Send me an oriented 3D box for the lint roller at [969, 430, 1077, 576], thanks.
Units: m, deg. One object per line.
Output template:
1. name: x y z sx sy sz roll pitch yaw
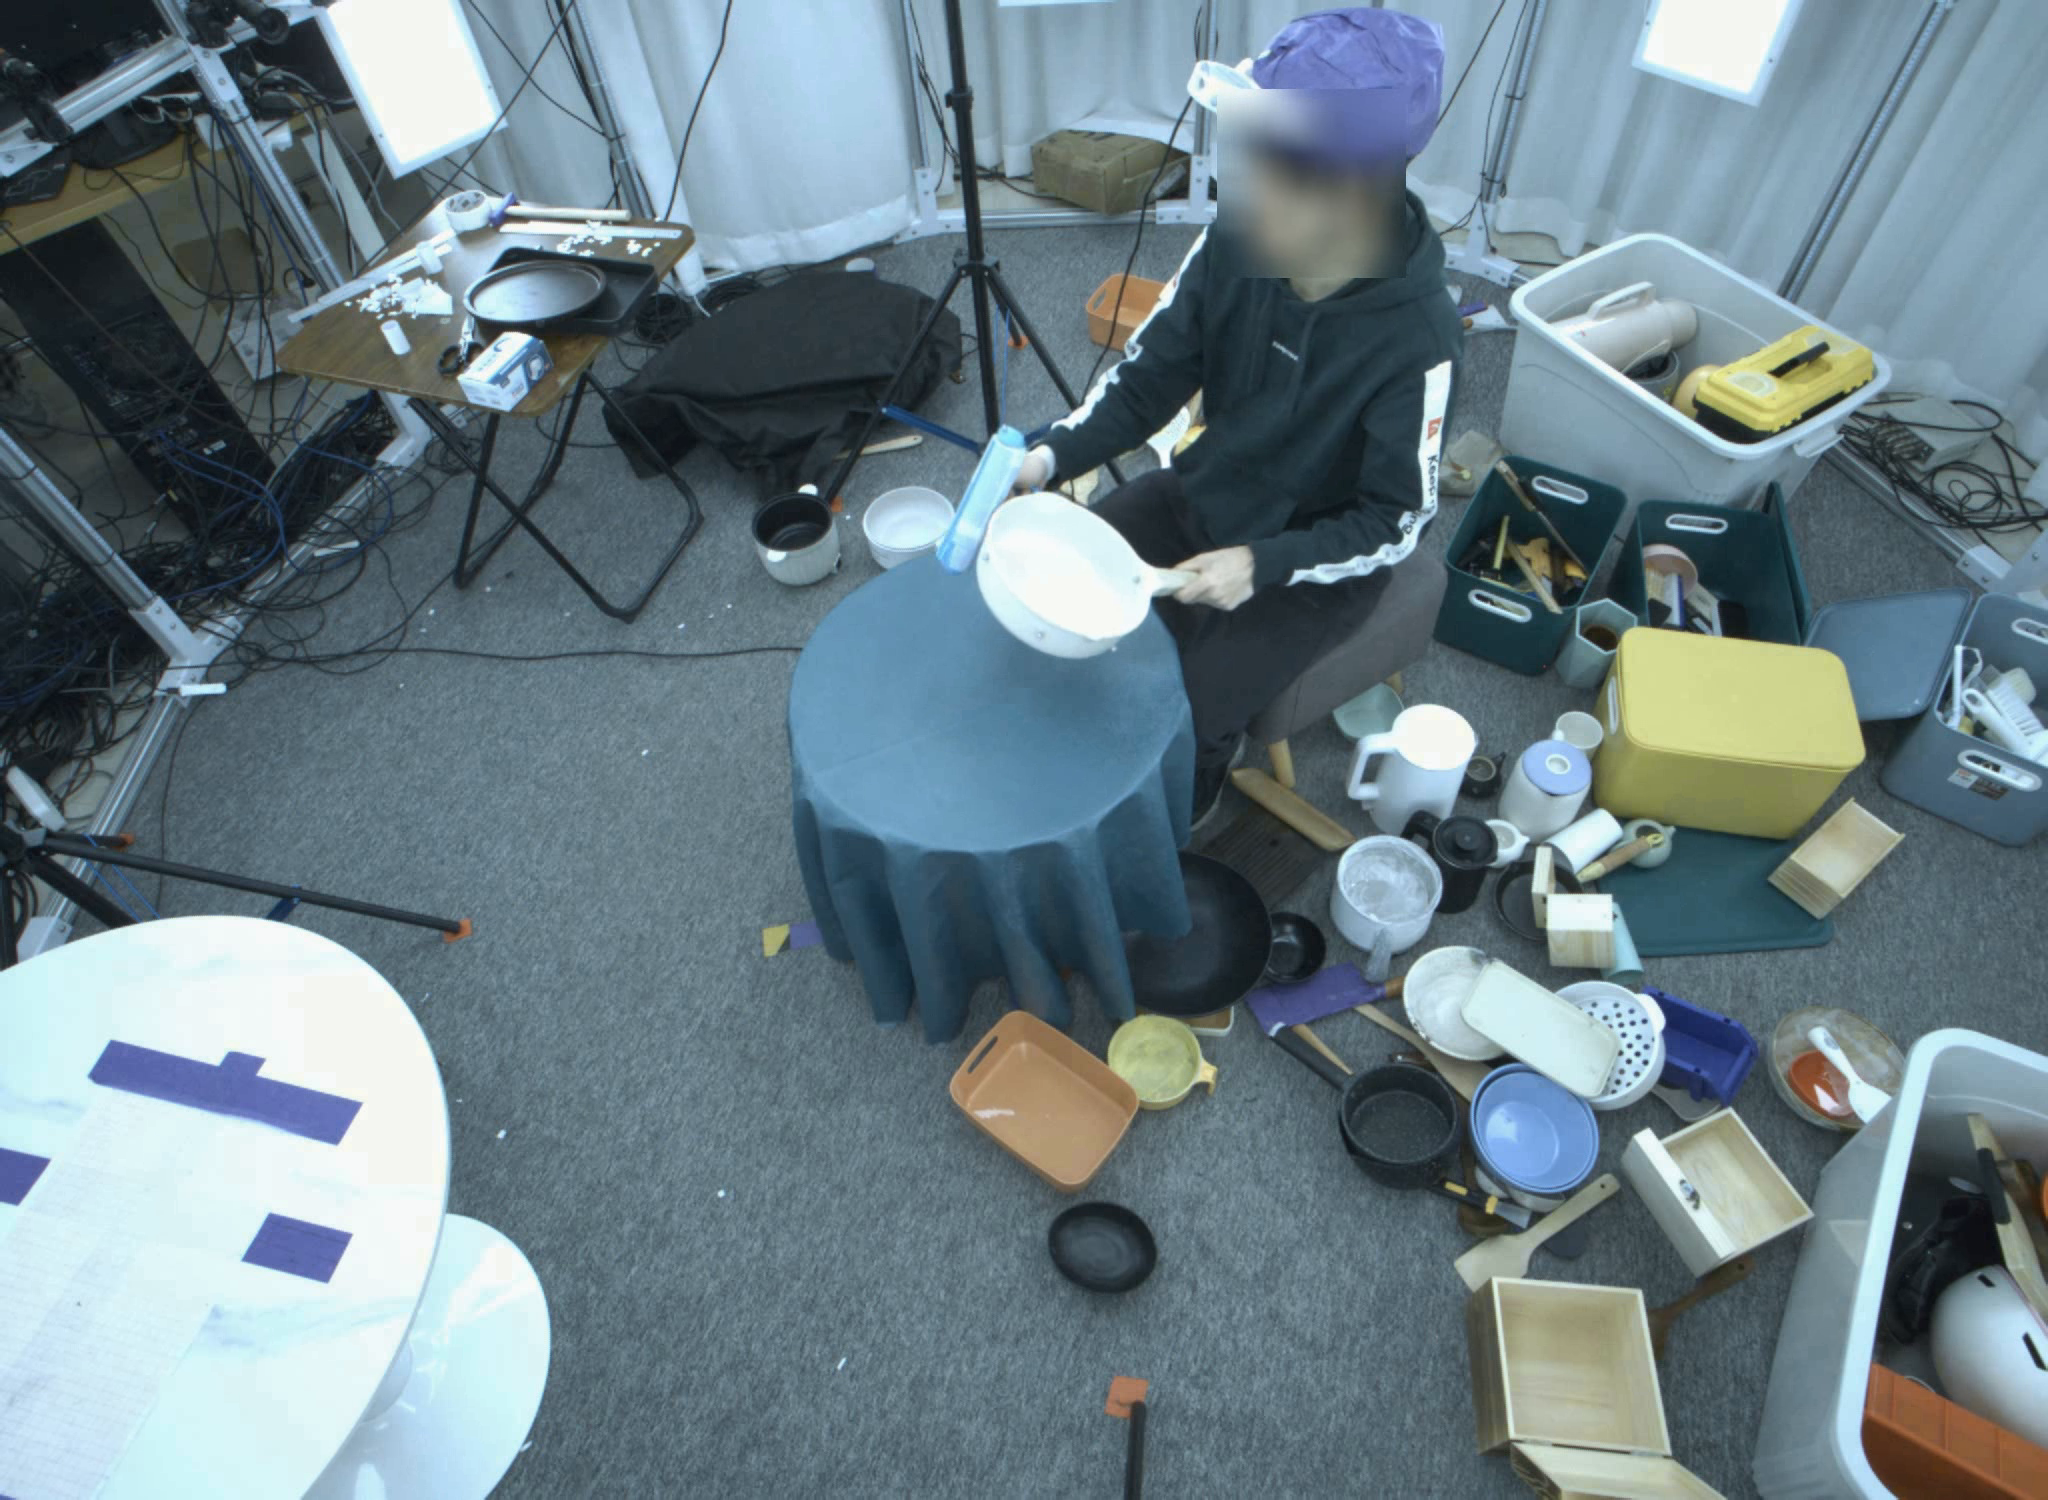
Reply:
1. lint roller: 0.011 -0.354 1.729 0.067 0.228 0.182 36 28 10

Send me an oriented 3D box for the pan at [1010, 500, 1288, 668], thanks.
1. pan: 0.177 -0.219 1.735 0.443 0.101 0.260 5 56 -30
